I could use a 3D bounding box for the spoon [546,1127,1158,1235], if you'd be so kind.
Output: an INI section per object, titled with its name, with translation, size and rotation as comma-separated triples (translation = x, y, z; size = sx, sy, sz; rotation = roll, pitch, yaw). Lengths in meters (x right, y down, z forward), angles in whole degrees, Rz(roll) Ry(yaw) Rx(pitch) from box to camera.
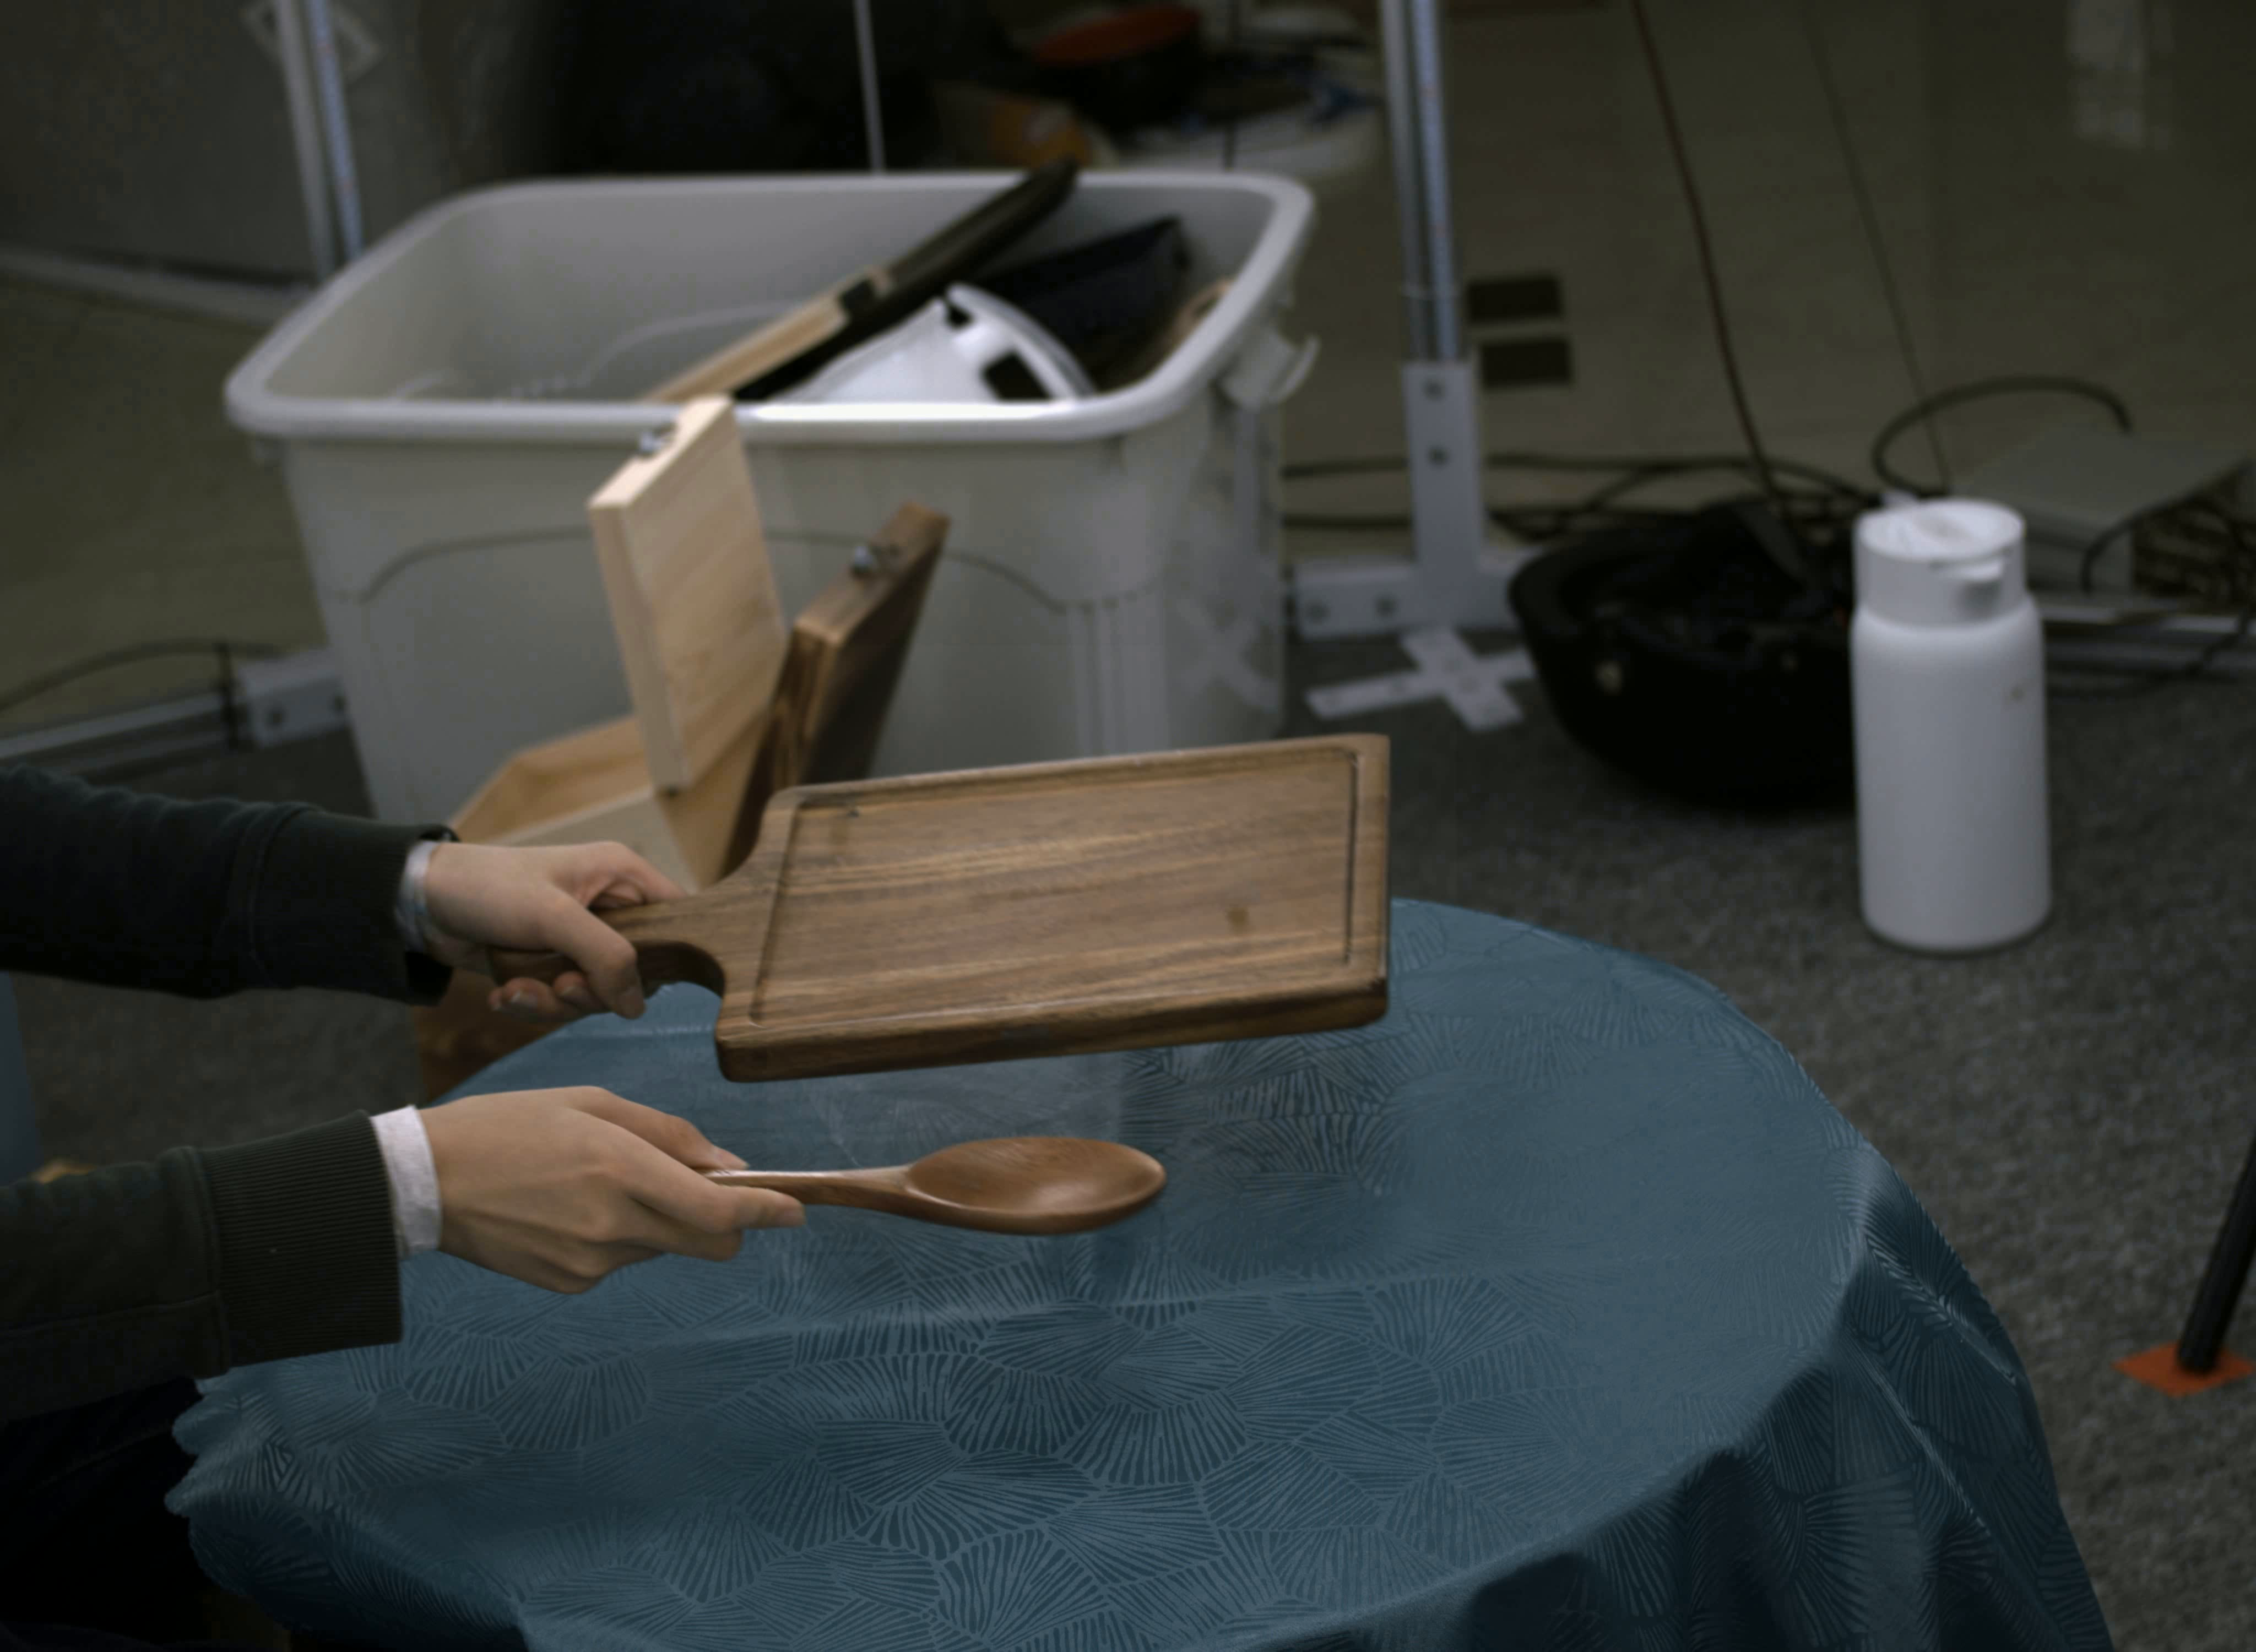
[spoon]
translation = -0.097, 0.127, 1.996
size = 0.215, 0.017, 0.074
rotation = 0, 21, 1

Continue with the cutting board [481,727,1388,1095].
[cutting board]
translation = -0.075, 0.035, 2.169
size = 0.351, 0.023, 0.197
rotation = -6, 31, 7
